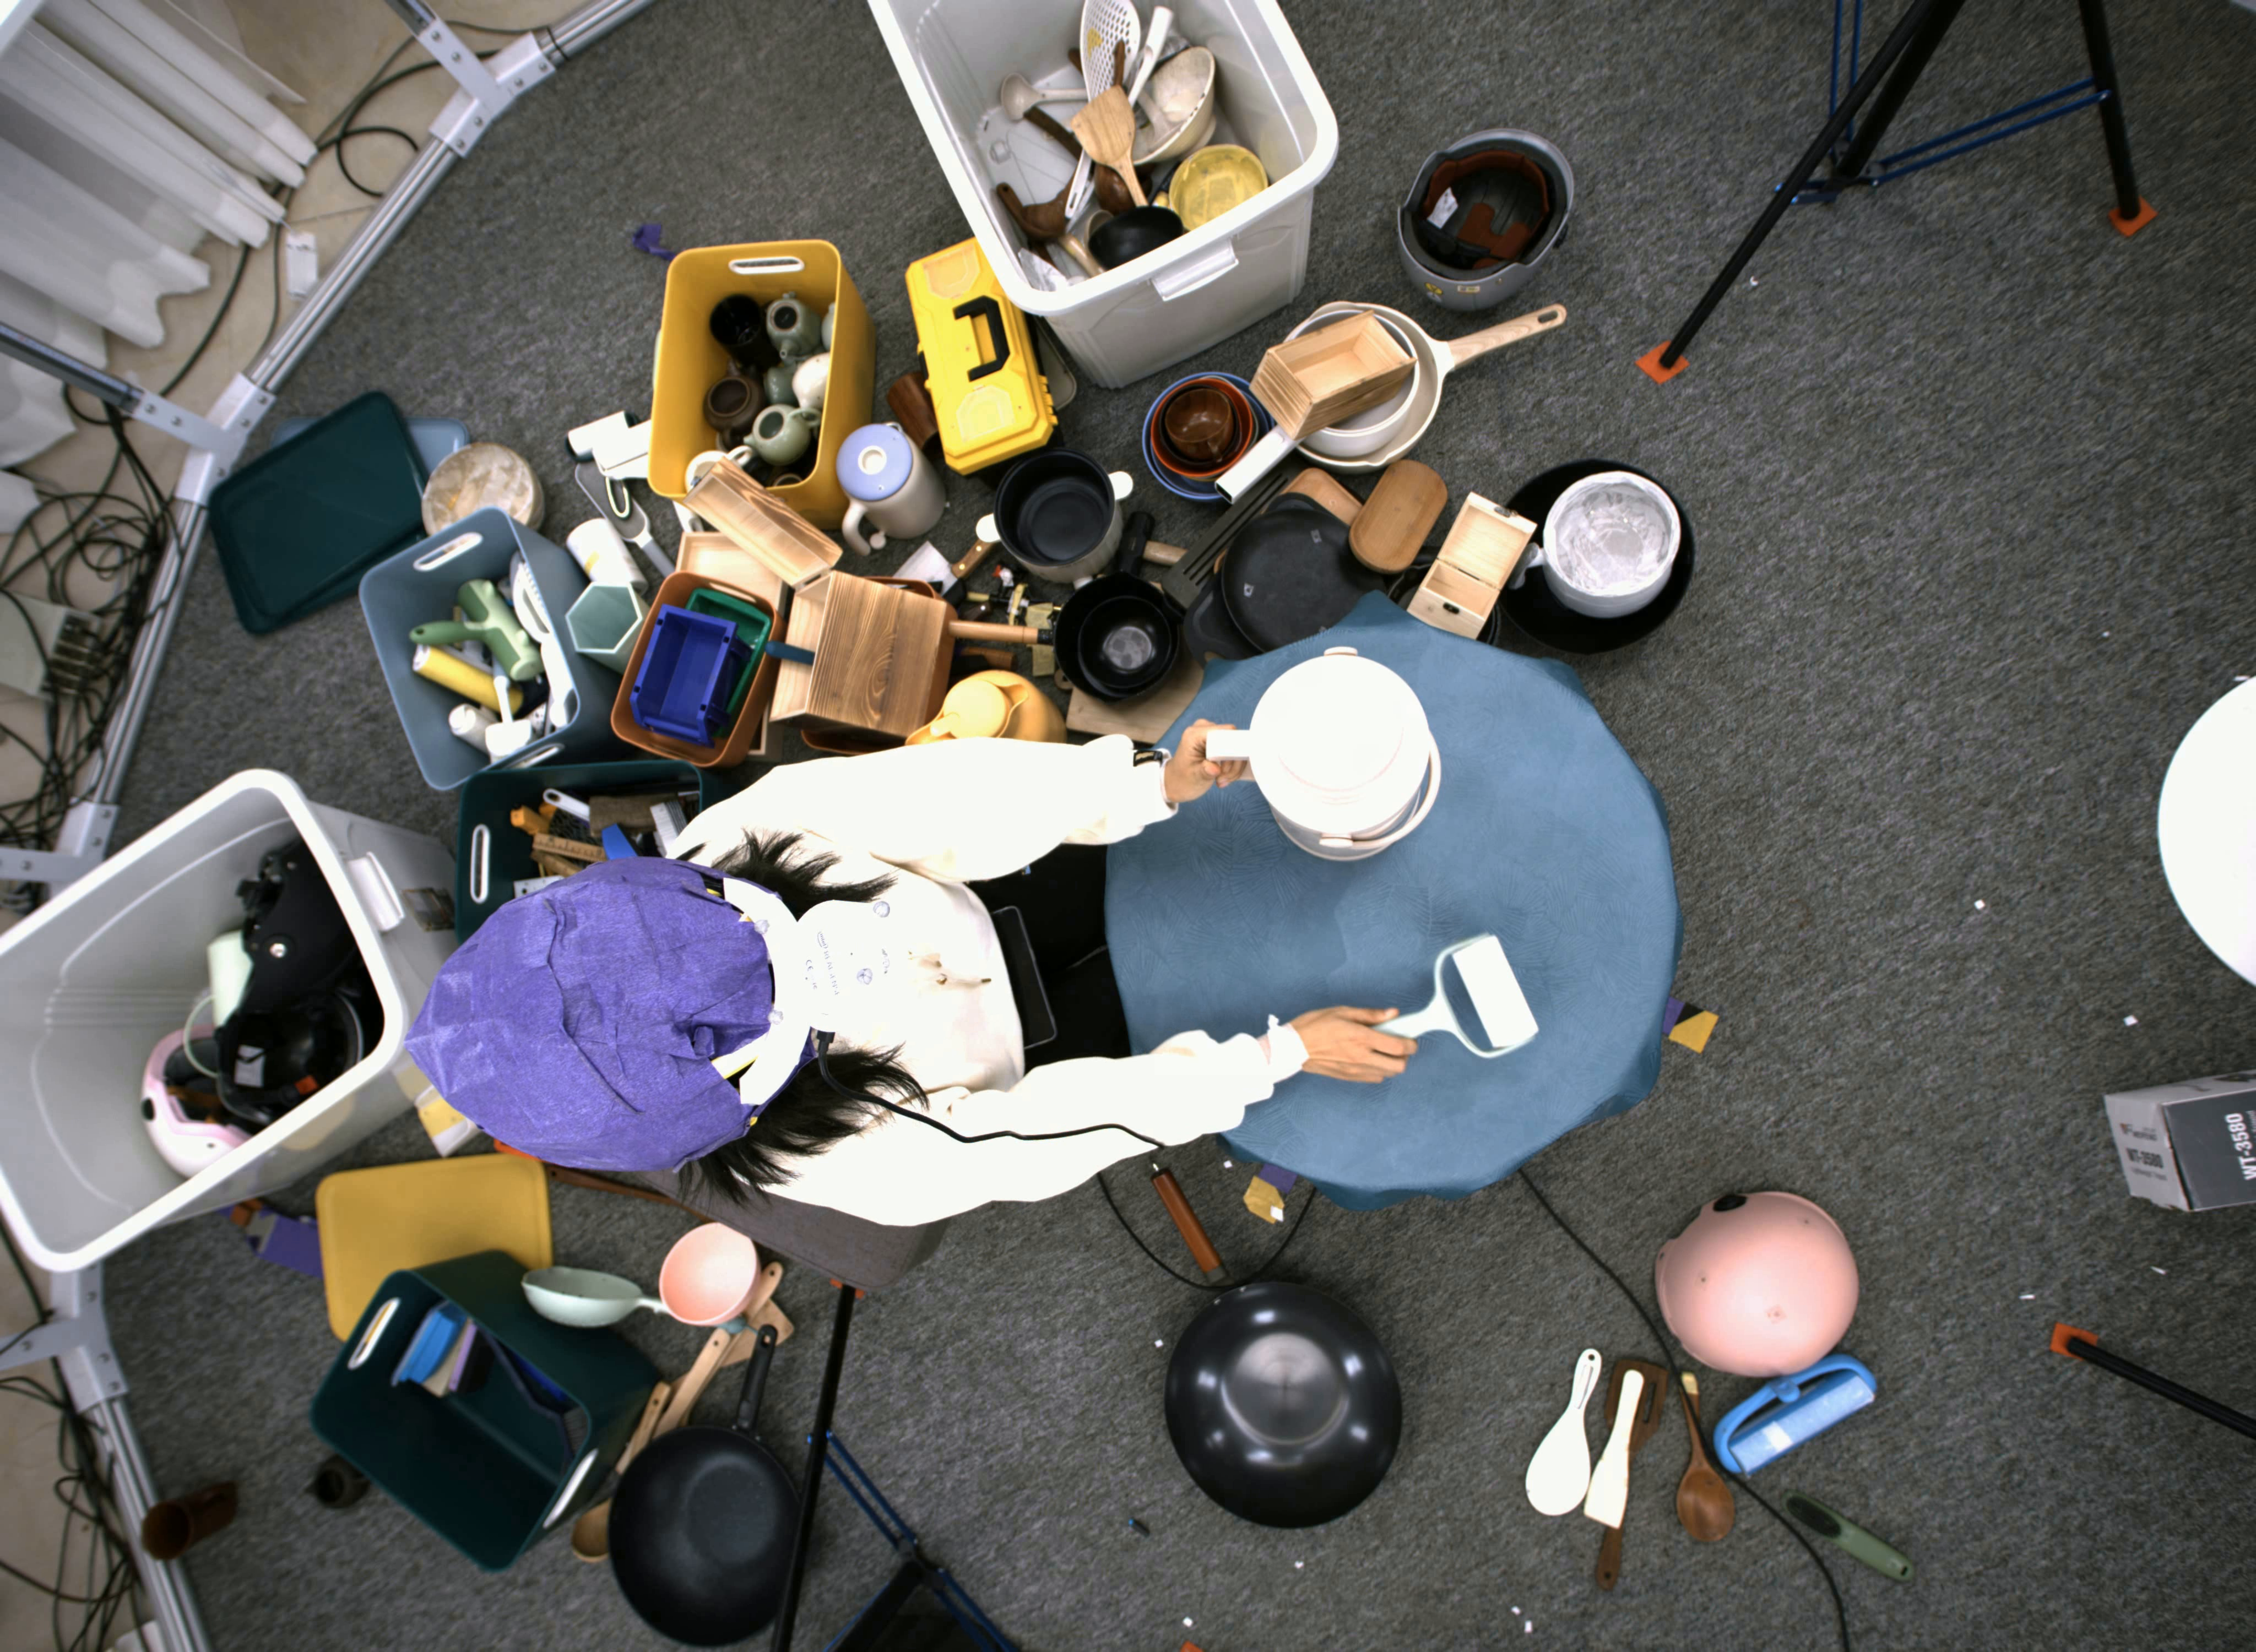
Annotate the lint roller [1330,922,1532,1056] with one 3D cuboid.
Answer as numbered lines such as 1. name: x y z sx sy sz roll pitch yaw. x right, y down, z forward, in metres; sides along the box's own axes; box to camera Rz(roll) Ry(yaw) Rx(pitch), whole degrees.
1. lint roller: 0.287 0.180 1.367 0.199 0.048 0.116 -26 87 16

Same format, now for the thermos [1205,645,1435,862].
1. thermos: 0.184 -0.064 1.283 0.208 0.406 0.174 1 85 10
